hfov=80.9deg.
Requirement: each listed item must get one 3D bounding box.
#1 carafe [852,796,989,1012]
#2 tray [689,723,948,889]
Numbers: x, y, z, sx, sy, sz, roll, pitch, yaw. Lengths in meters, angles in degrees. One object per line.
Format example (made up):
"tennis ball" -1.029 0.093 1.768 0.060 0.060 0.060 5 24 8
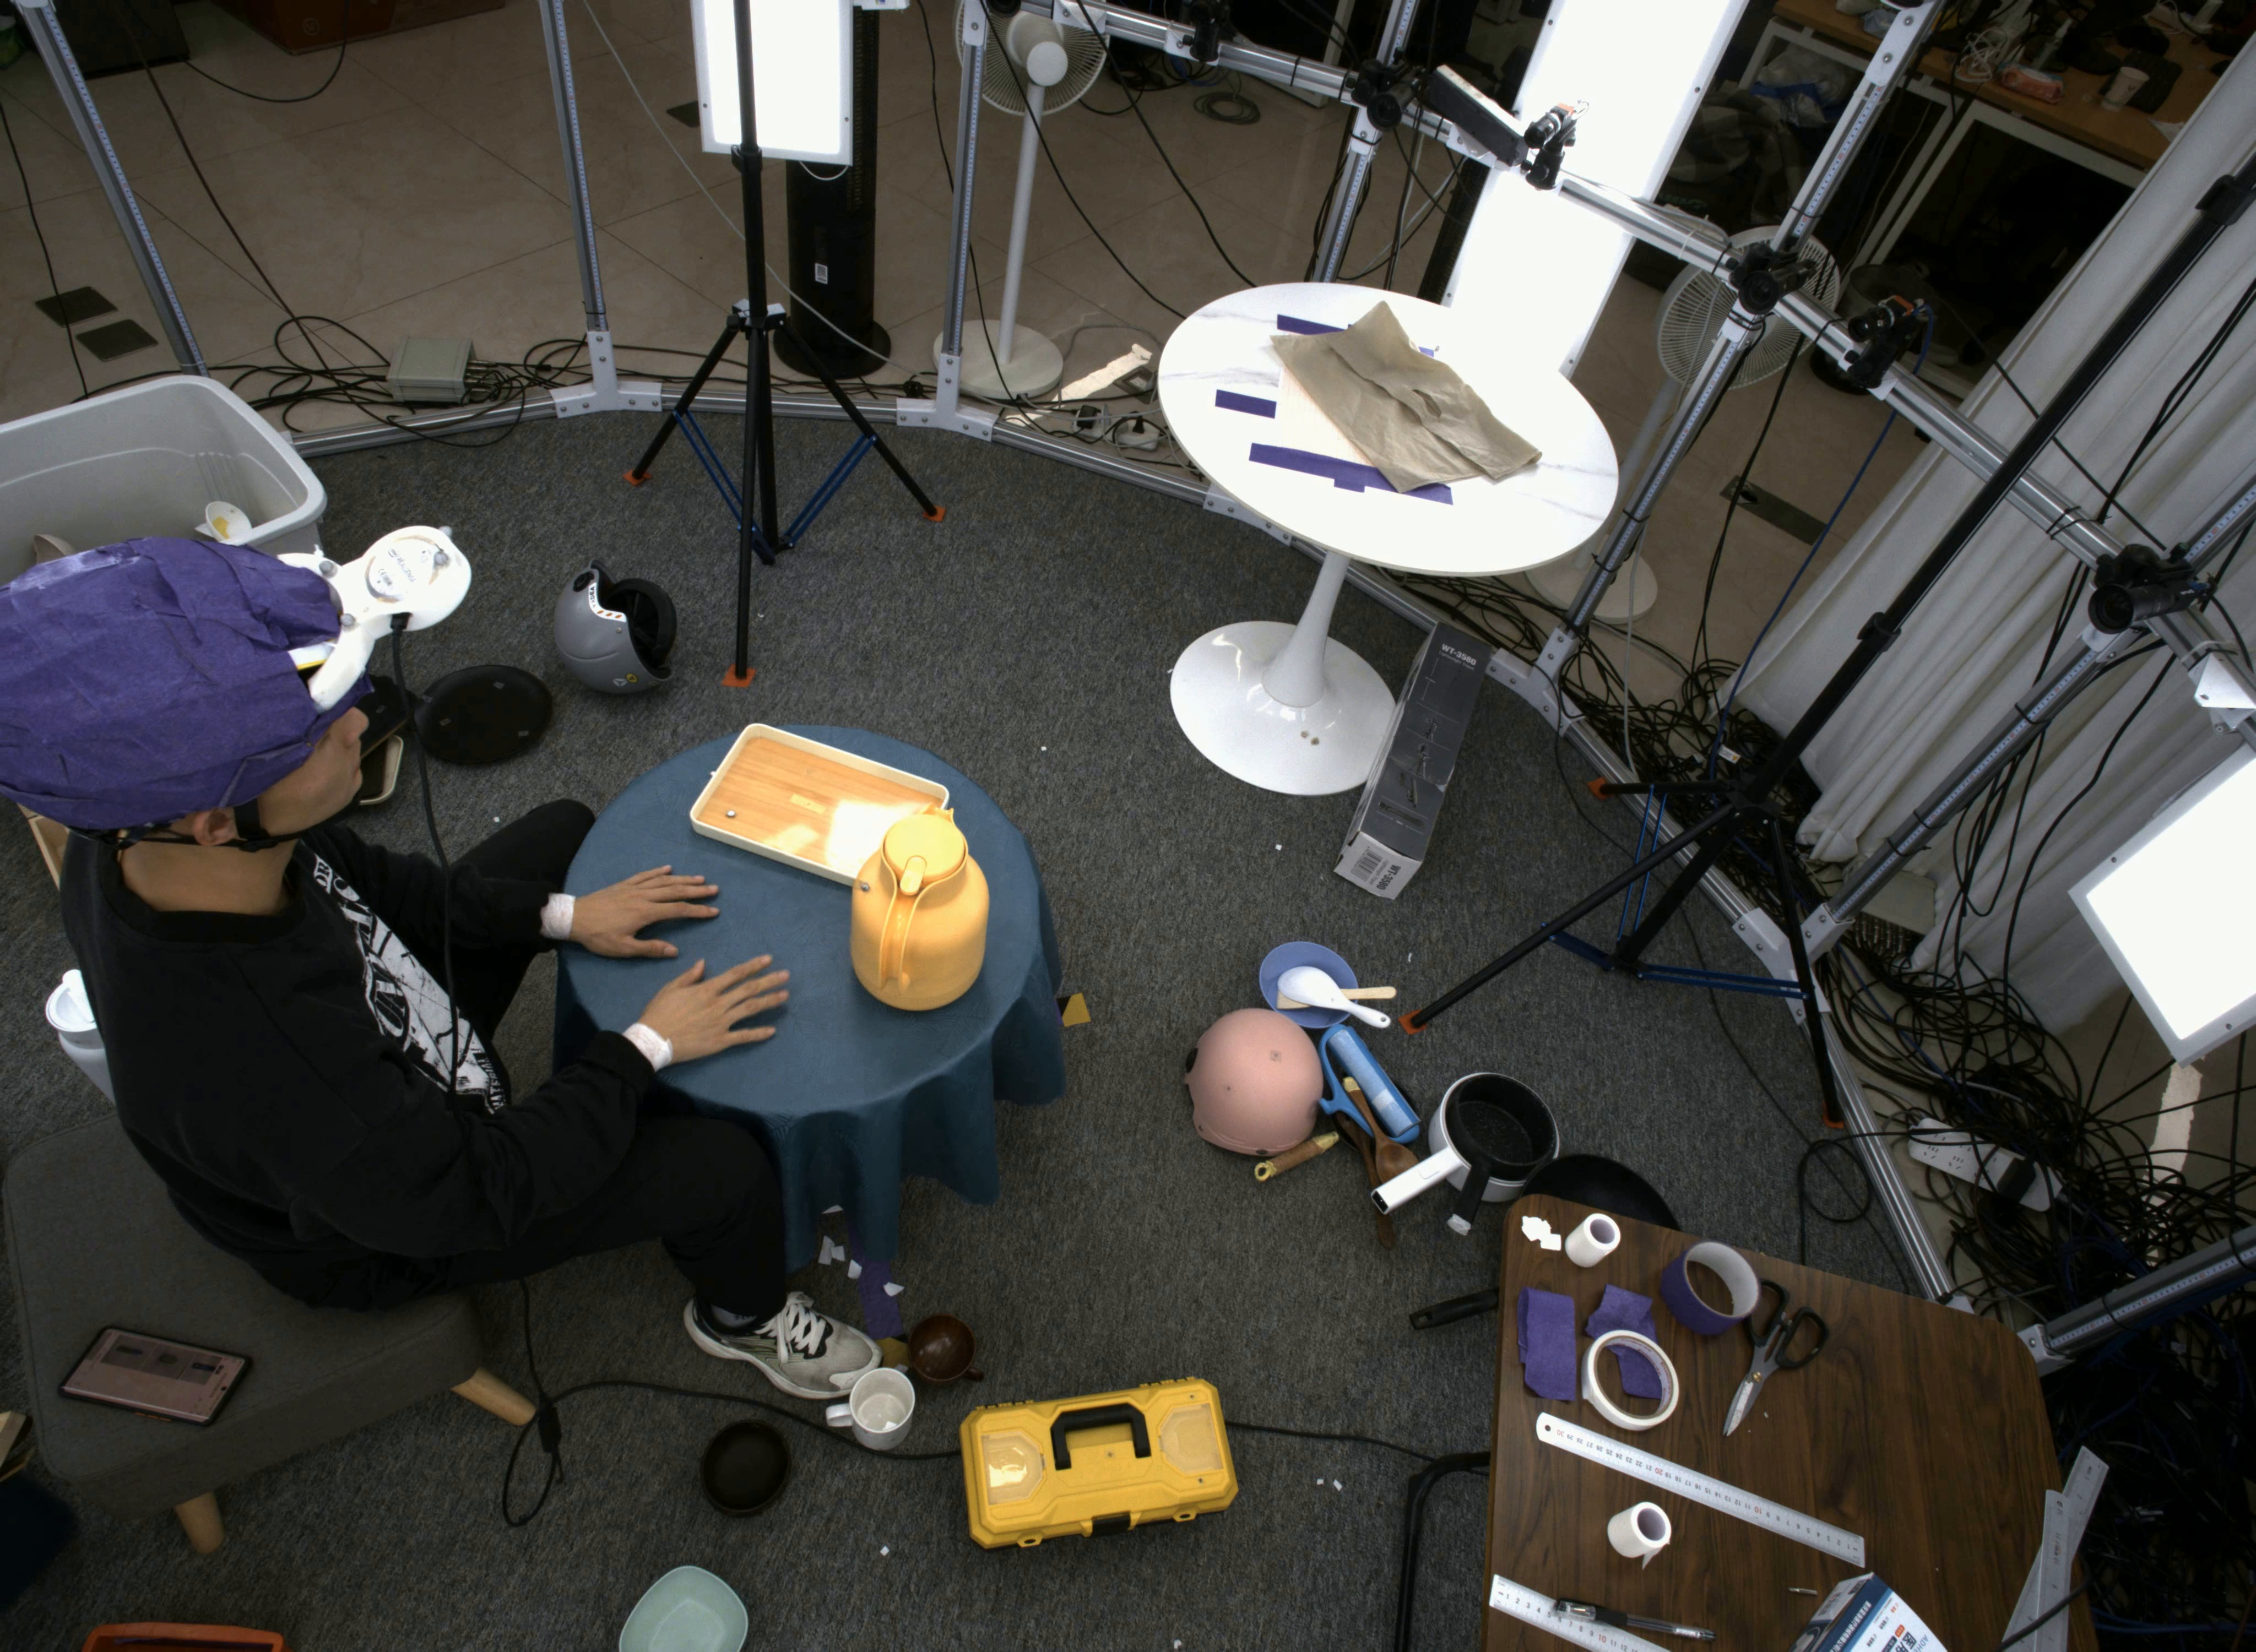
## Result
"carafe" -0.250 0.105 1.520 0.161 0.267 0.200 14 50 3
"tray" -0.408 -0.023 1.726 0.297 0.028 0.189 19 51 0
